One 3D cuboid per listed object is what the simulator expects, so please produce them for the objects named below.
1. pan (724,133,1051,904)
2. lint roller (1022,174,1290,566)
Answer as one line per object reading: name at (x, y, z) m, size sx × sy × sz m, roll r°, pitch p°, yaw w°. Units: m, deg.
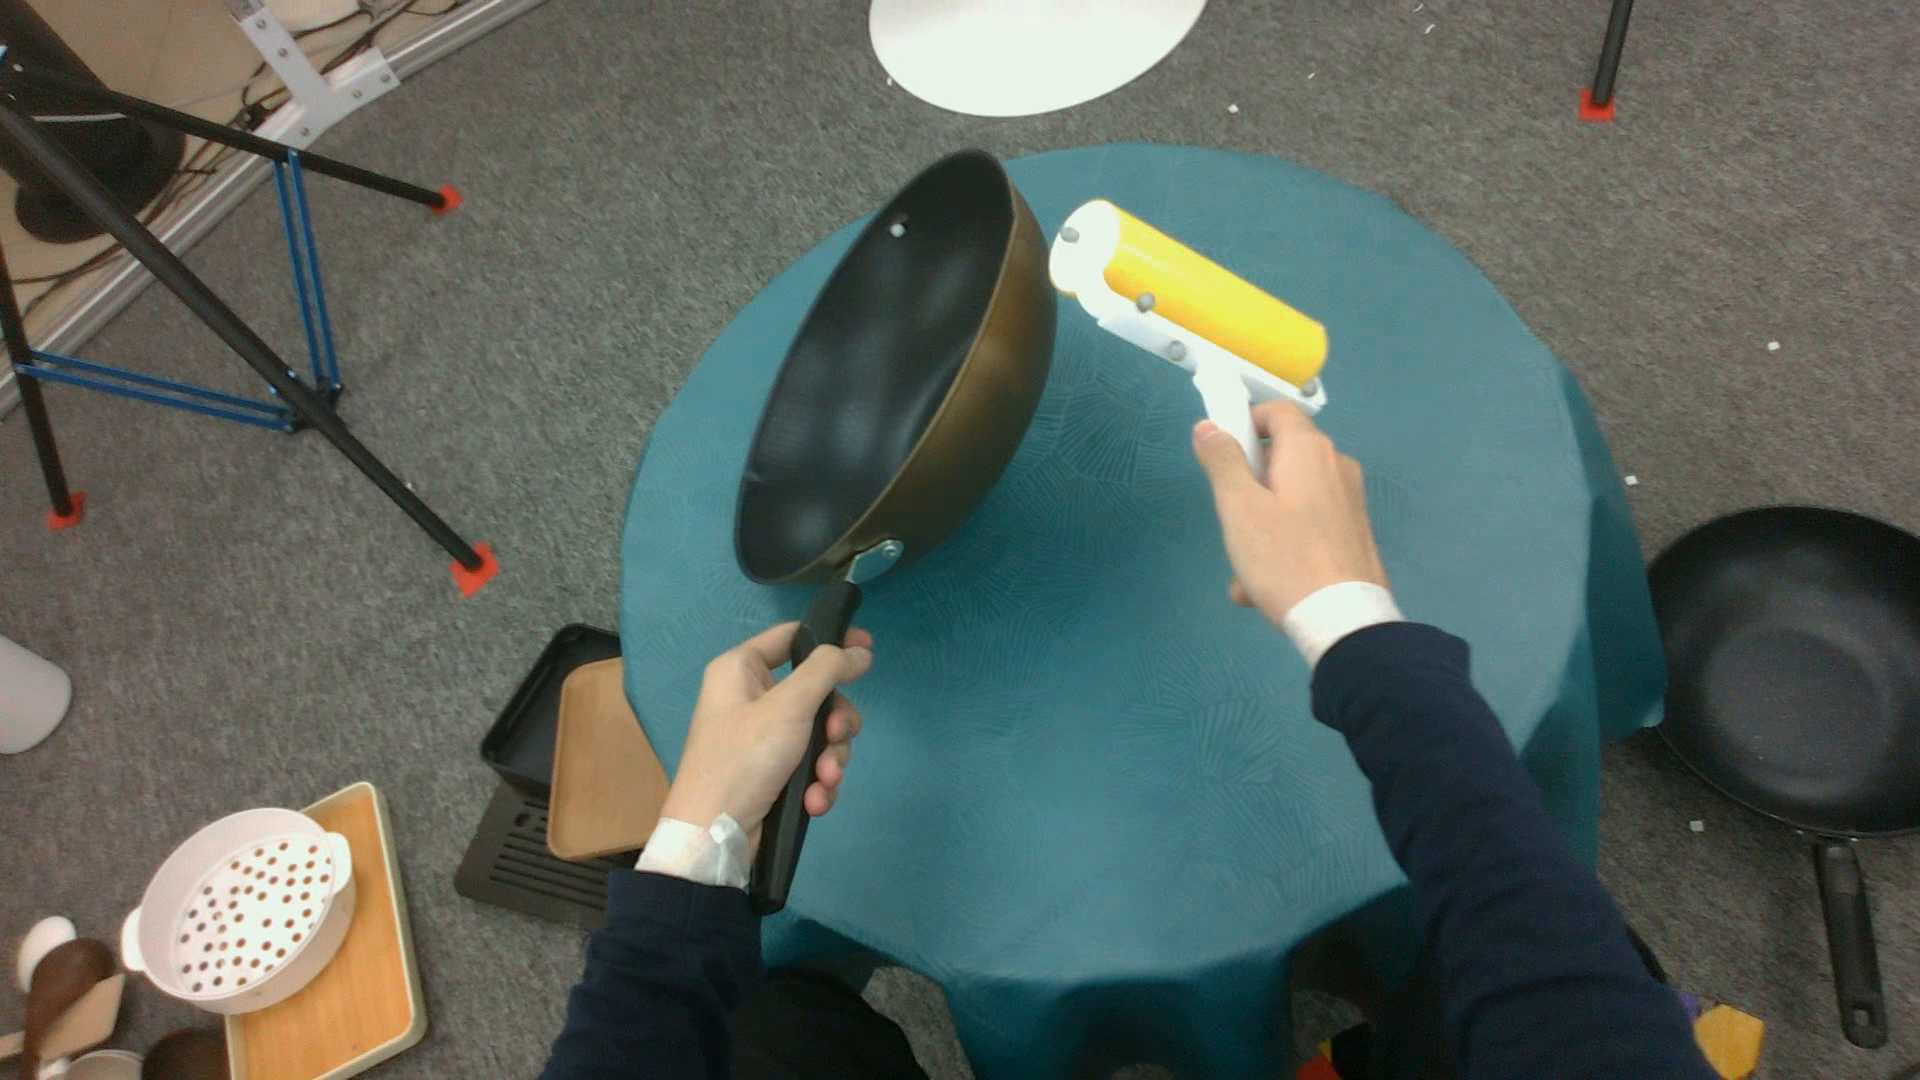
pan at (-0.042, -0.020, 0.753) m, size 0.286 × 0.087 × 0.465 m, roll -36°, pitch 37°, yaw 43°
lint roller at (0.123, -0.075, 0.659) m, size 0.051 × 0.174 × 0.192 m, roll -44°, pitch 48°, yaw 28°
